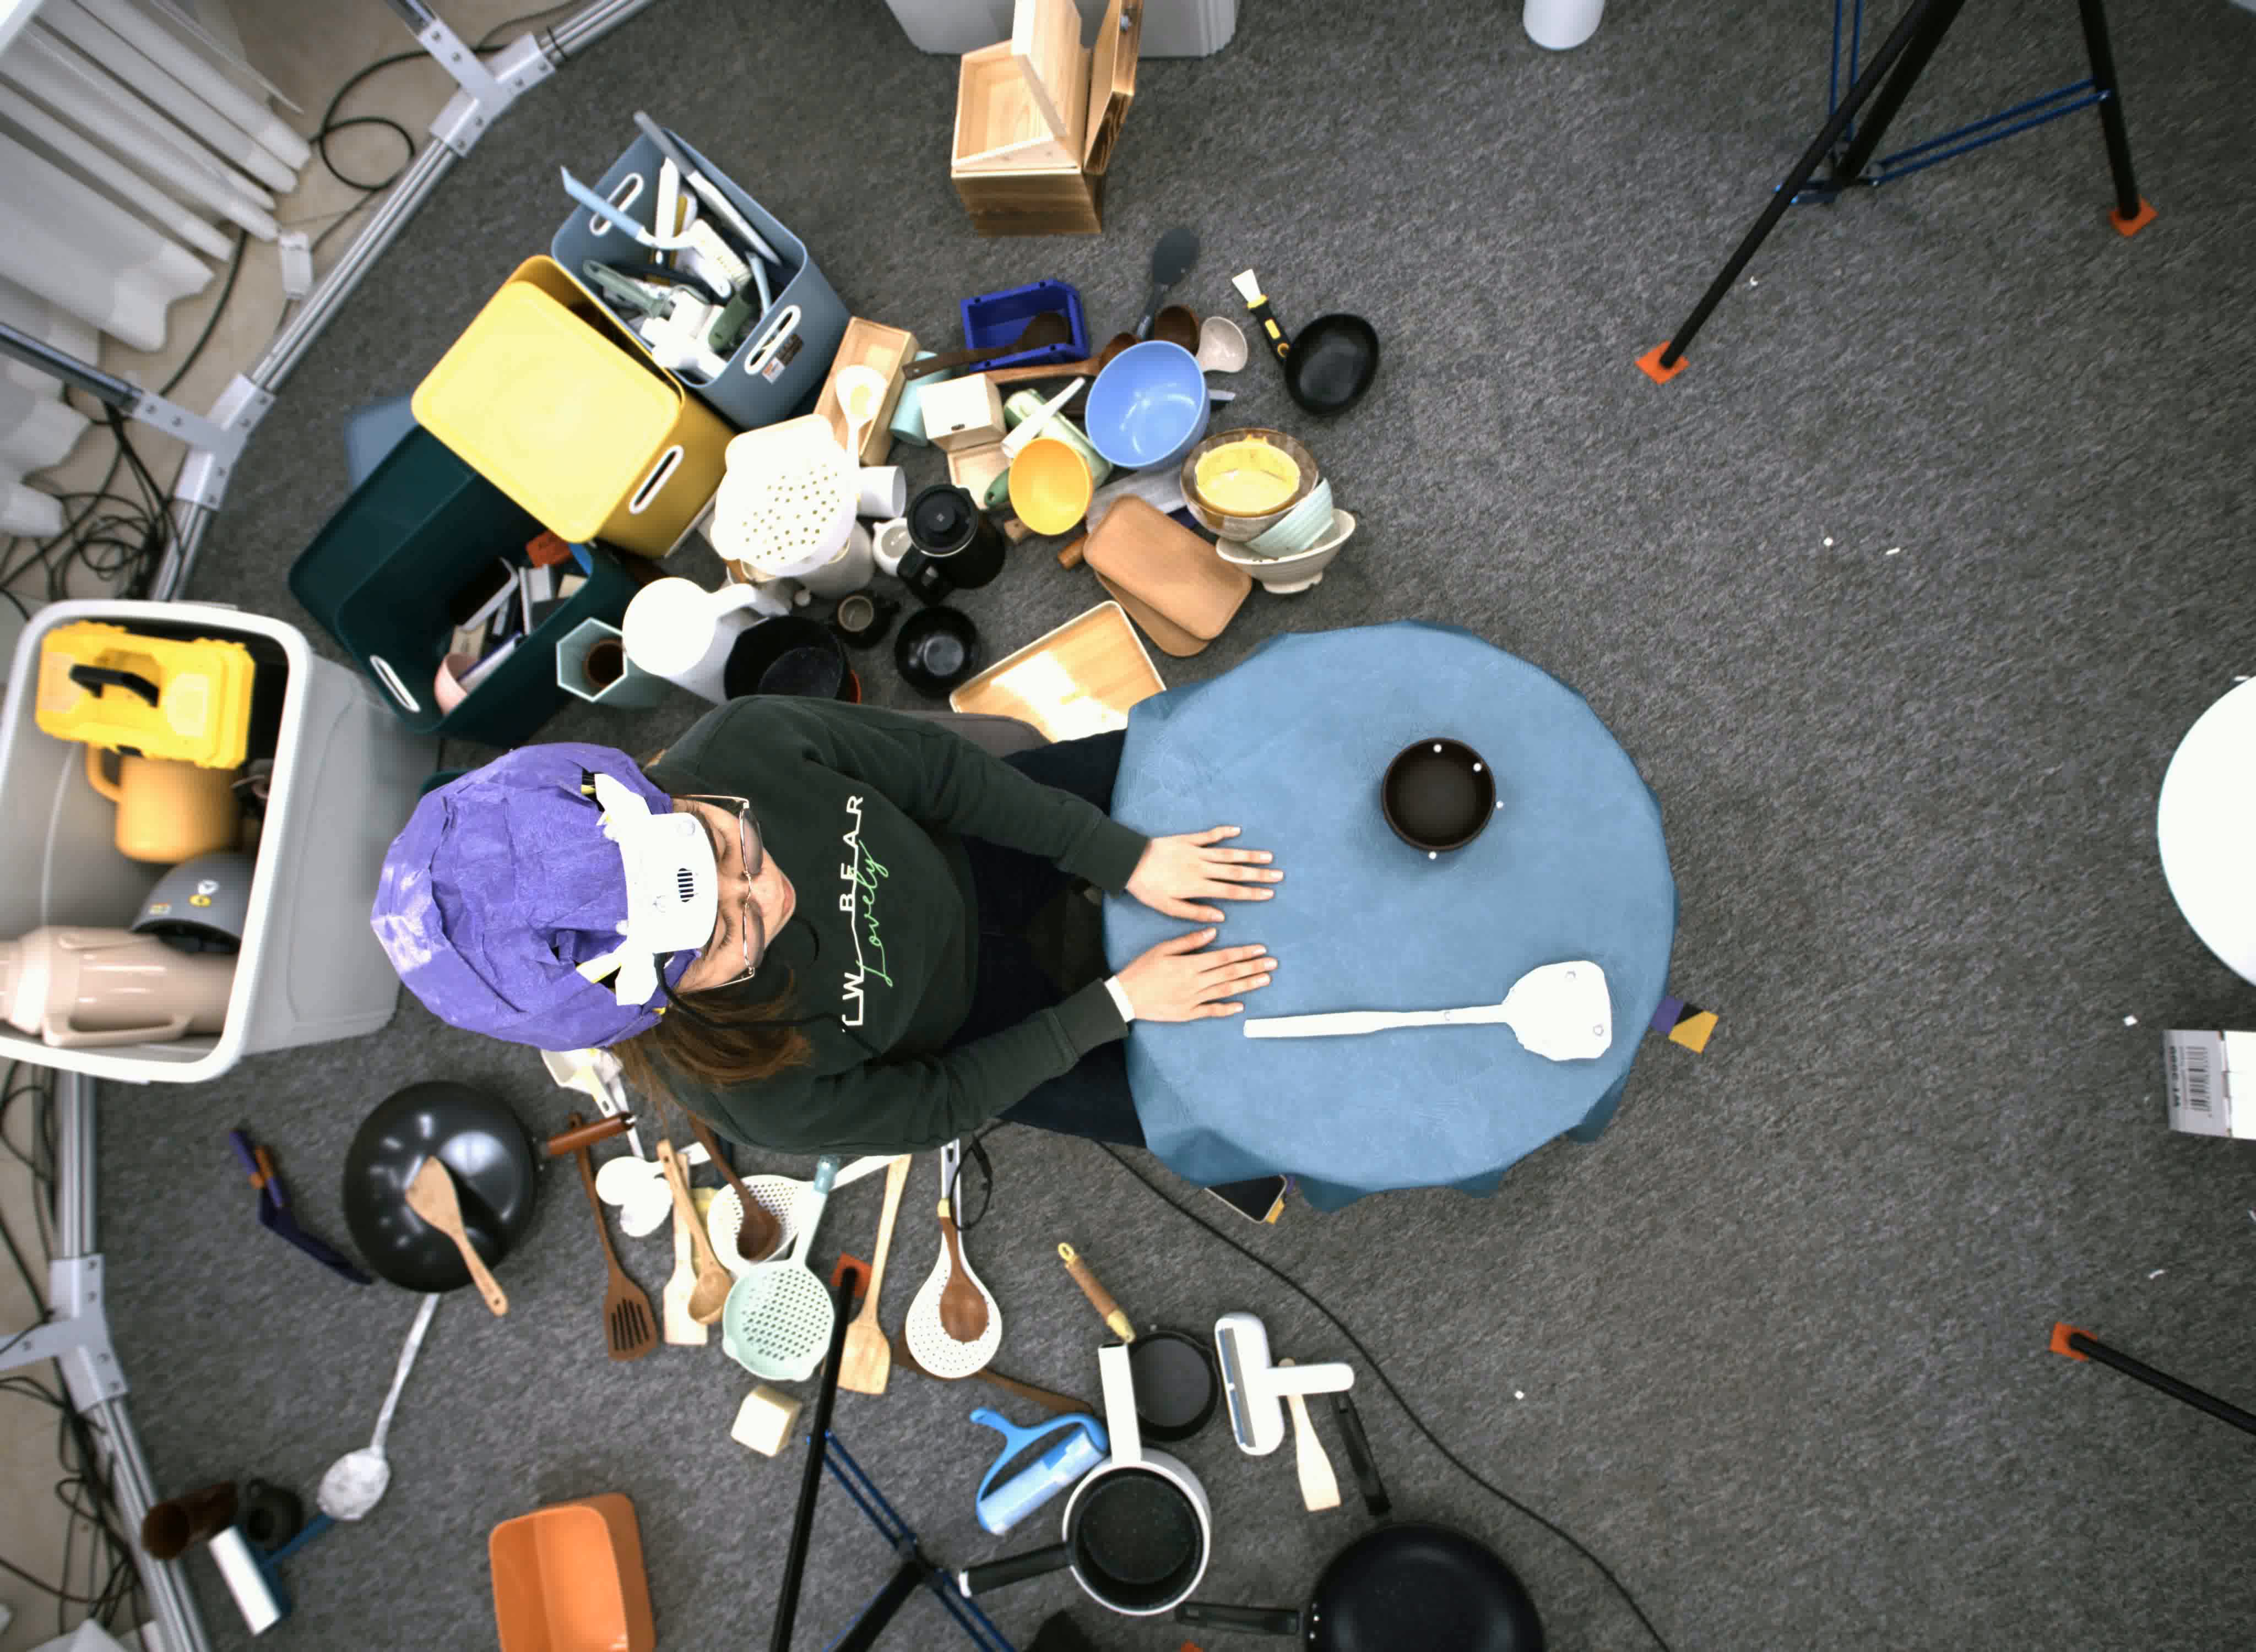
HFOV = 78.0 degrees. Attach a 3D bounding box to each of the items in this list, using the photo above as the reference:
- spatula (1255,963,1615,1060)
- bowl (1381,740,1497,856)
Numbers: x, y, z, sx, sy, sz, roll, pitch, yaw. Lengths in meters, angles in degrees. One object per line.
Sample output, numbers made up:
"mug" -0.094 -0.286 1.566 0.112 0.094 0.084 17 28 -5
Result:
"spatula" 0.312 0.195 1.429 0.366 0.045 0.098 -4 87 10
"bowl" 0.322 -0.028 1.426 0.118 0.070 0.117 -1 84 12
